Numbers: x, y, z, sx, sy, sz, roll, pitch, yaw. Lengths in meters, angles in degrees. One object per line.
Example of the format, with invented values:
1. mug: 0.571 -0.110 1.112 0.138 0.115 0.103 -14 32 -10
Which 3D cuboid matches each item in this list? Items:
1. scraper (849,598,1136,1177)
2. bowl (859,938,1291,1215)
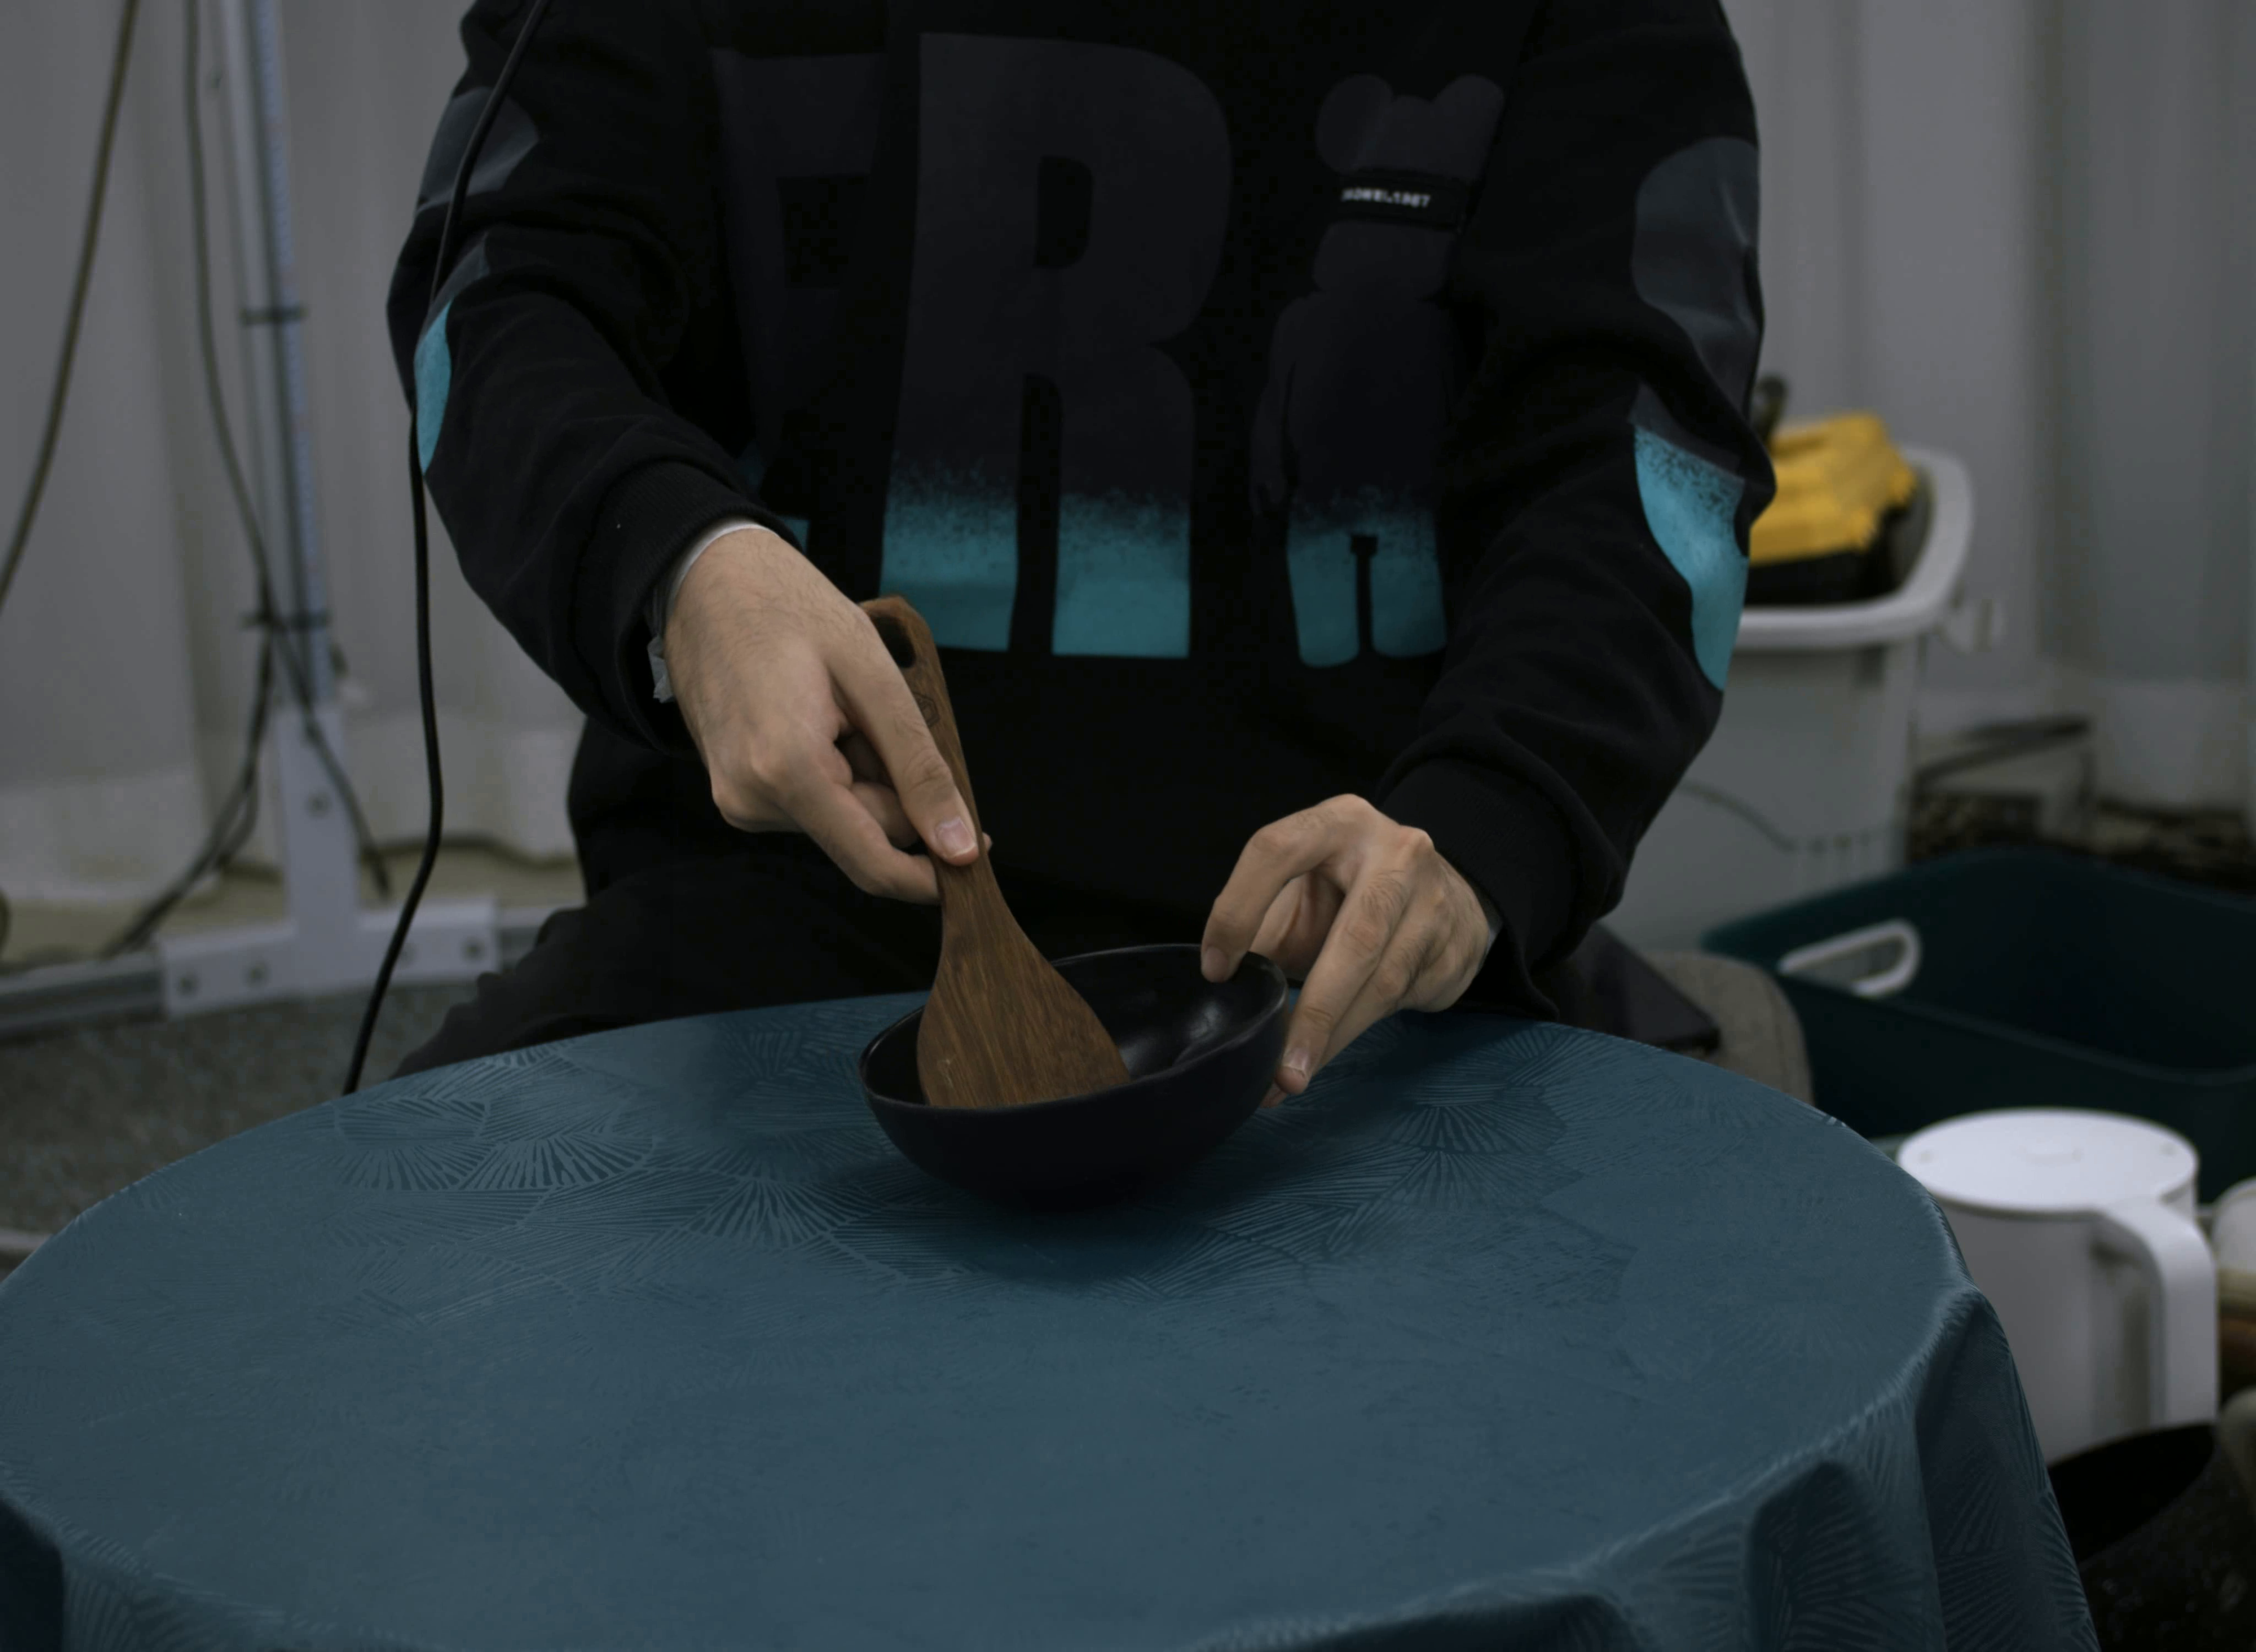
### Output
1. scraper: -0.050 0.019 1.737 0.075 0.214 0.011 -3 -29 -29
2. bowl: -0.012 0.085 1.713 0.139 0.049 0.141 -13 17 4
